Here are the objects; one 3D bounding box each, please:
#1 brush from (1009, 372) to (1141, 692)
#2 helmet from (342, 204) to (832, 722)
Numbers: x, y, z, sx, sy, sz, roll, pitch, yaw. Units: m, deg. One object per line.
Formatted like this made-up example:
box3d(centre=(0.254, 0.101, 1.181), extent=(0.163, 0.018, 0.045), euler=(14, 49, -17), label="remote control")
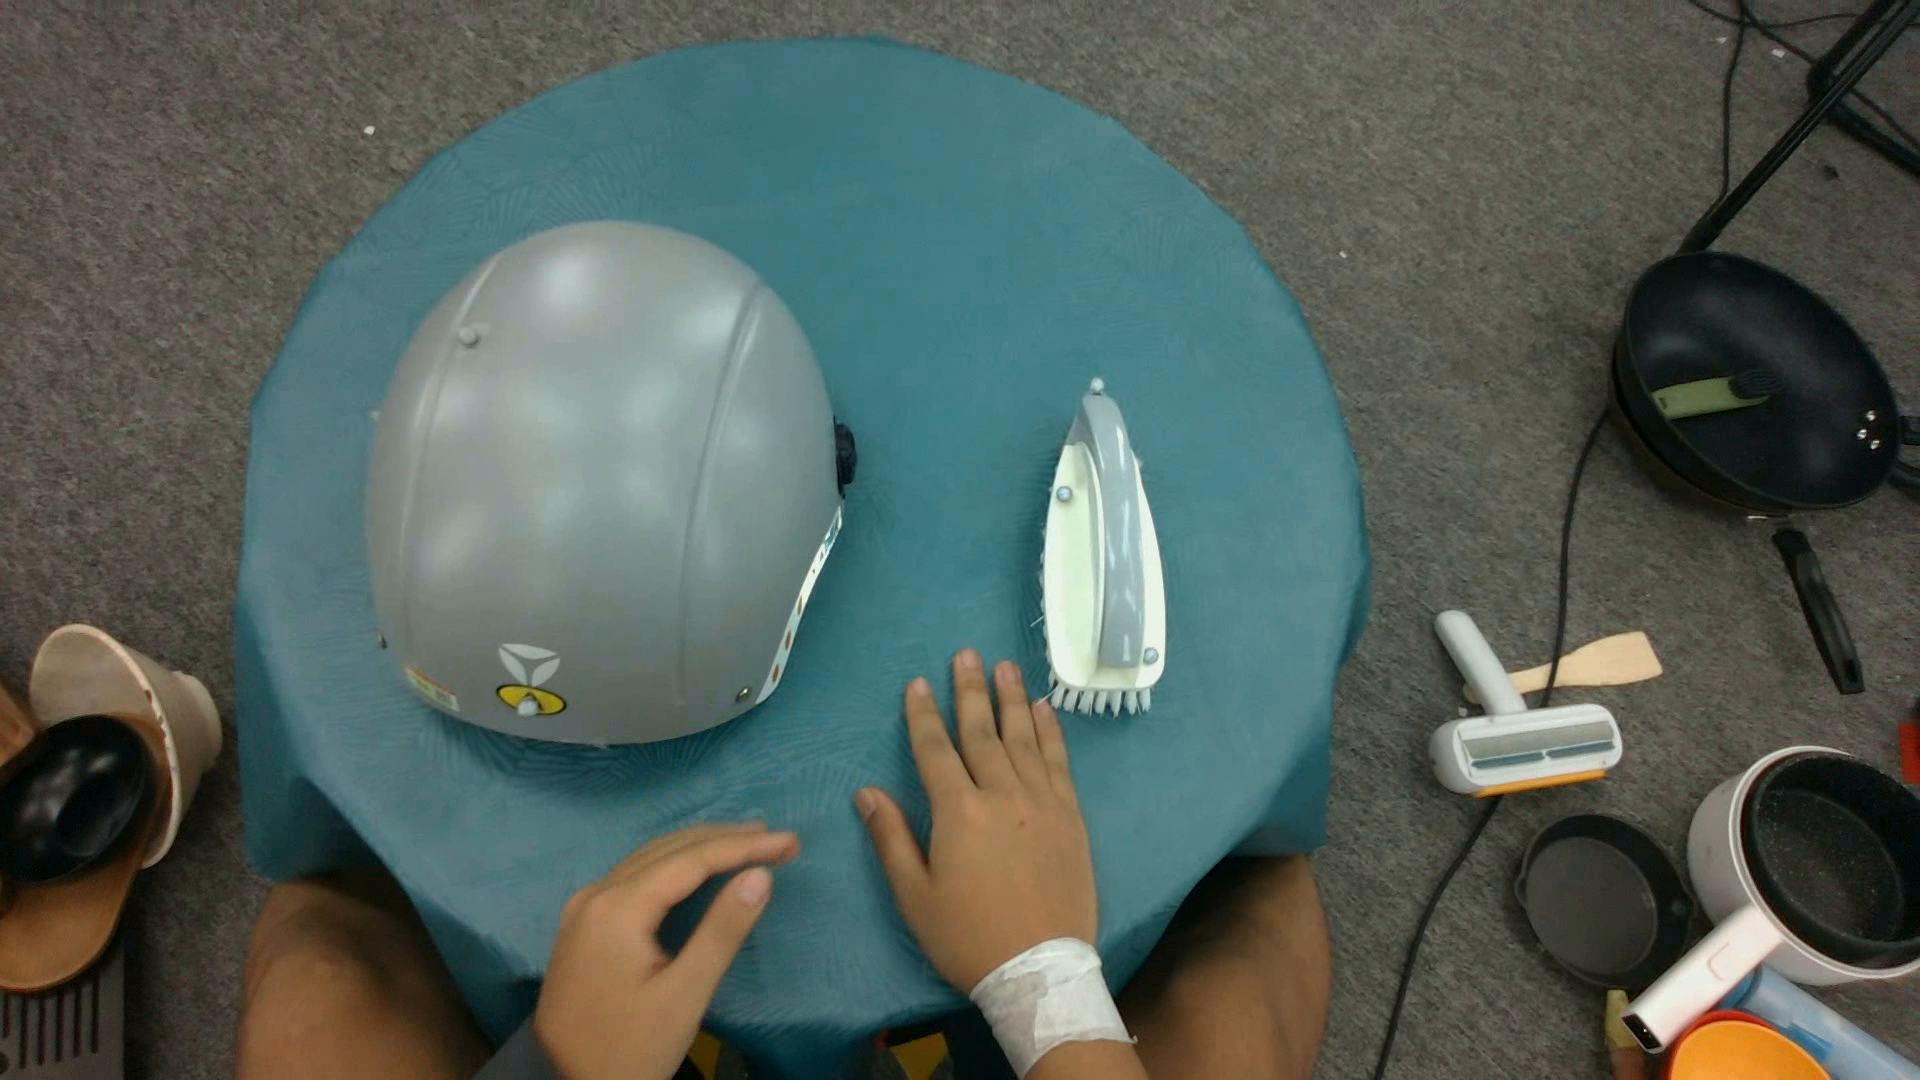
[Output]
box3d(centre=(0.061, -0.019, 0.702), extent=(0.061, 0.094, 0.176), euler=(3, 62, -9), label="brush")
box3d(centre=(-0.177, -0.058, 0.650), extent=(0.232, 0.168, 0.277), euler=(9, 61, -5), label="helmet")
